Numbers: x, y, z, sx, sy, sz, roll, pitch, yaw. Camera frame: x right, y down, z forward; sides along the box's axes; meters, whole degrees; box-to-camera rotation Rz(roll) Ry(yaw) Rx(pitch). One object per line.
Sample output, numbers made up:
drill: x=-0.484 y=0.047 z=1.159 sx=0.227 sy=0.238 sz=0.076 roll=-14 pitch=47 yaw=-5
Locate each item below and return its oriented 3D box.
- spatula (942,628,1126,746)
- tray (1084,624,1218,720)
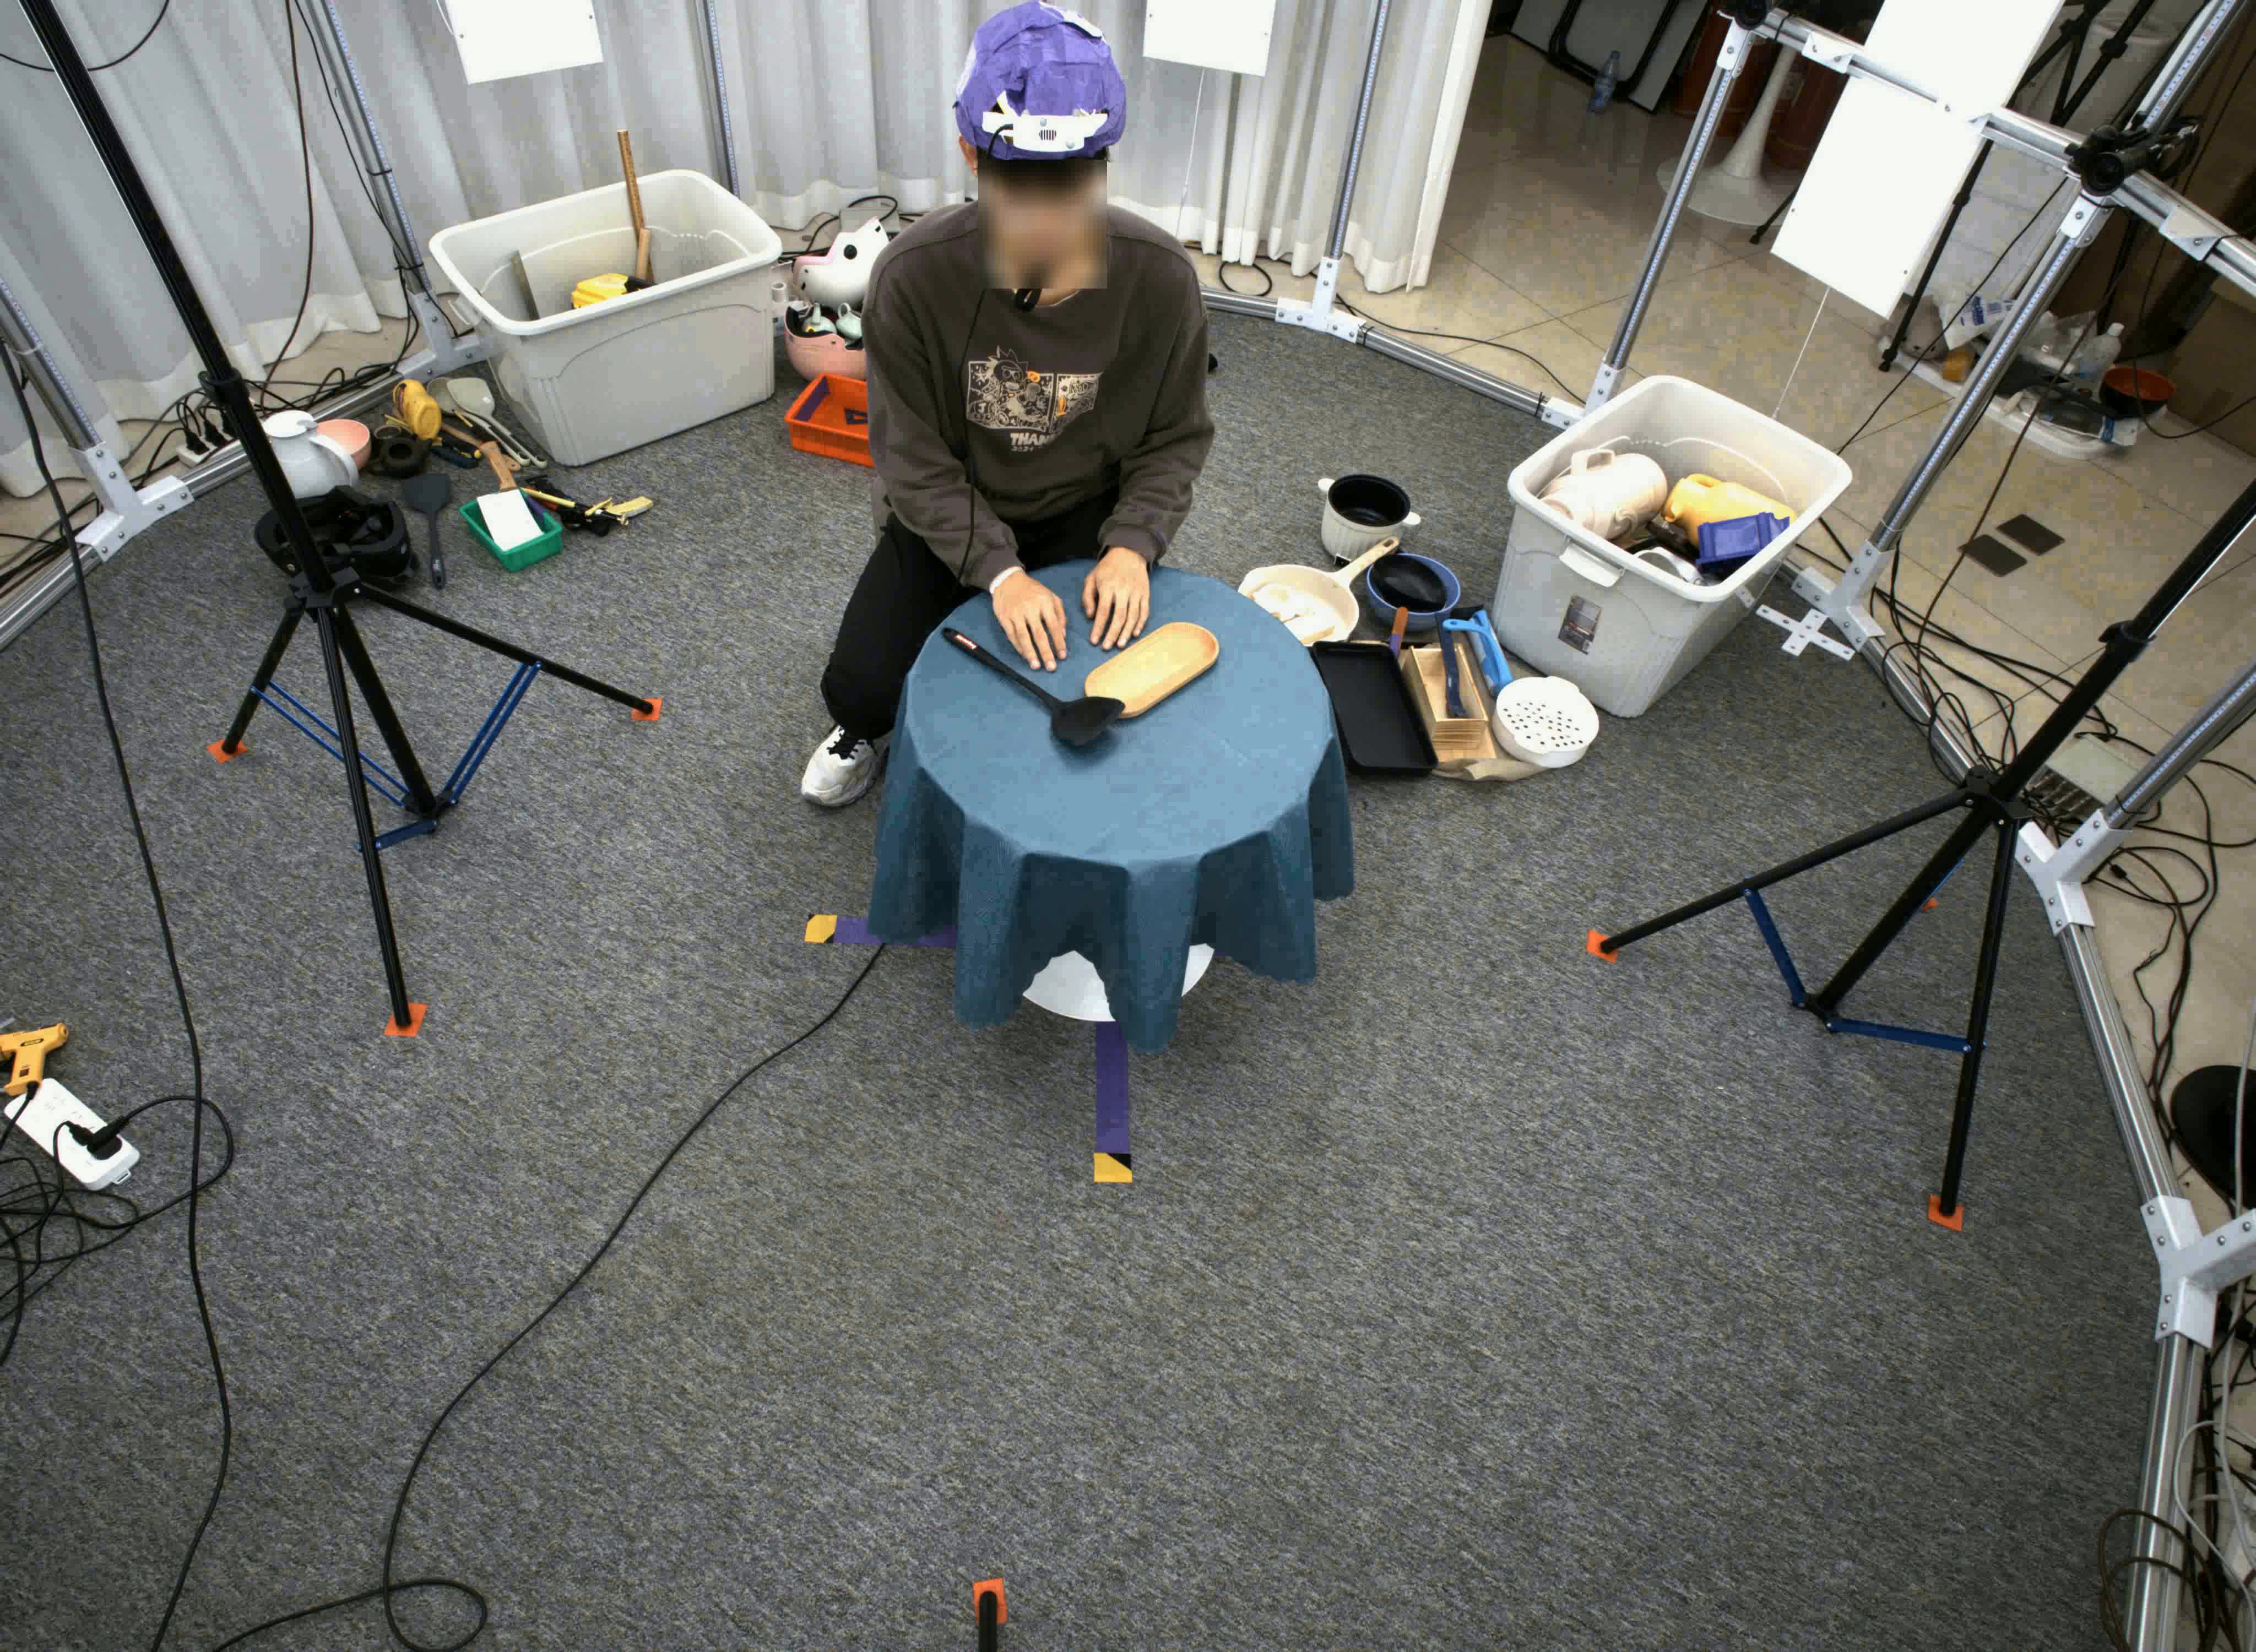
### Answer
spatula: x=-0.149 y=-0.210 z=1.815 sx=0.330 sy=0.039 sz=0.101 roll=36 pitch=61 yaw=25
tray: x=0.035 y=-0.224 z=1.852 sx=0.233 sy=0.020 sz=0.103 roll=-36 pitch=59 yaw=-28
